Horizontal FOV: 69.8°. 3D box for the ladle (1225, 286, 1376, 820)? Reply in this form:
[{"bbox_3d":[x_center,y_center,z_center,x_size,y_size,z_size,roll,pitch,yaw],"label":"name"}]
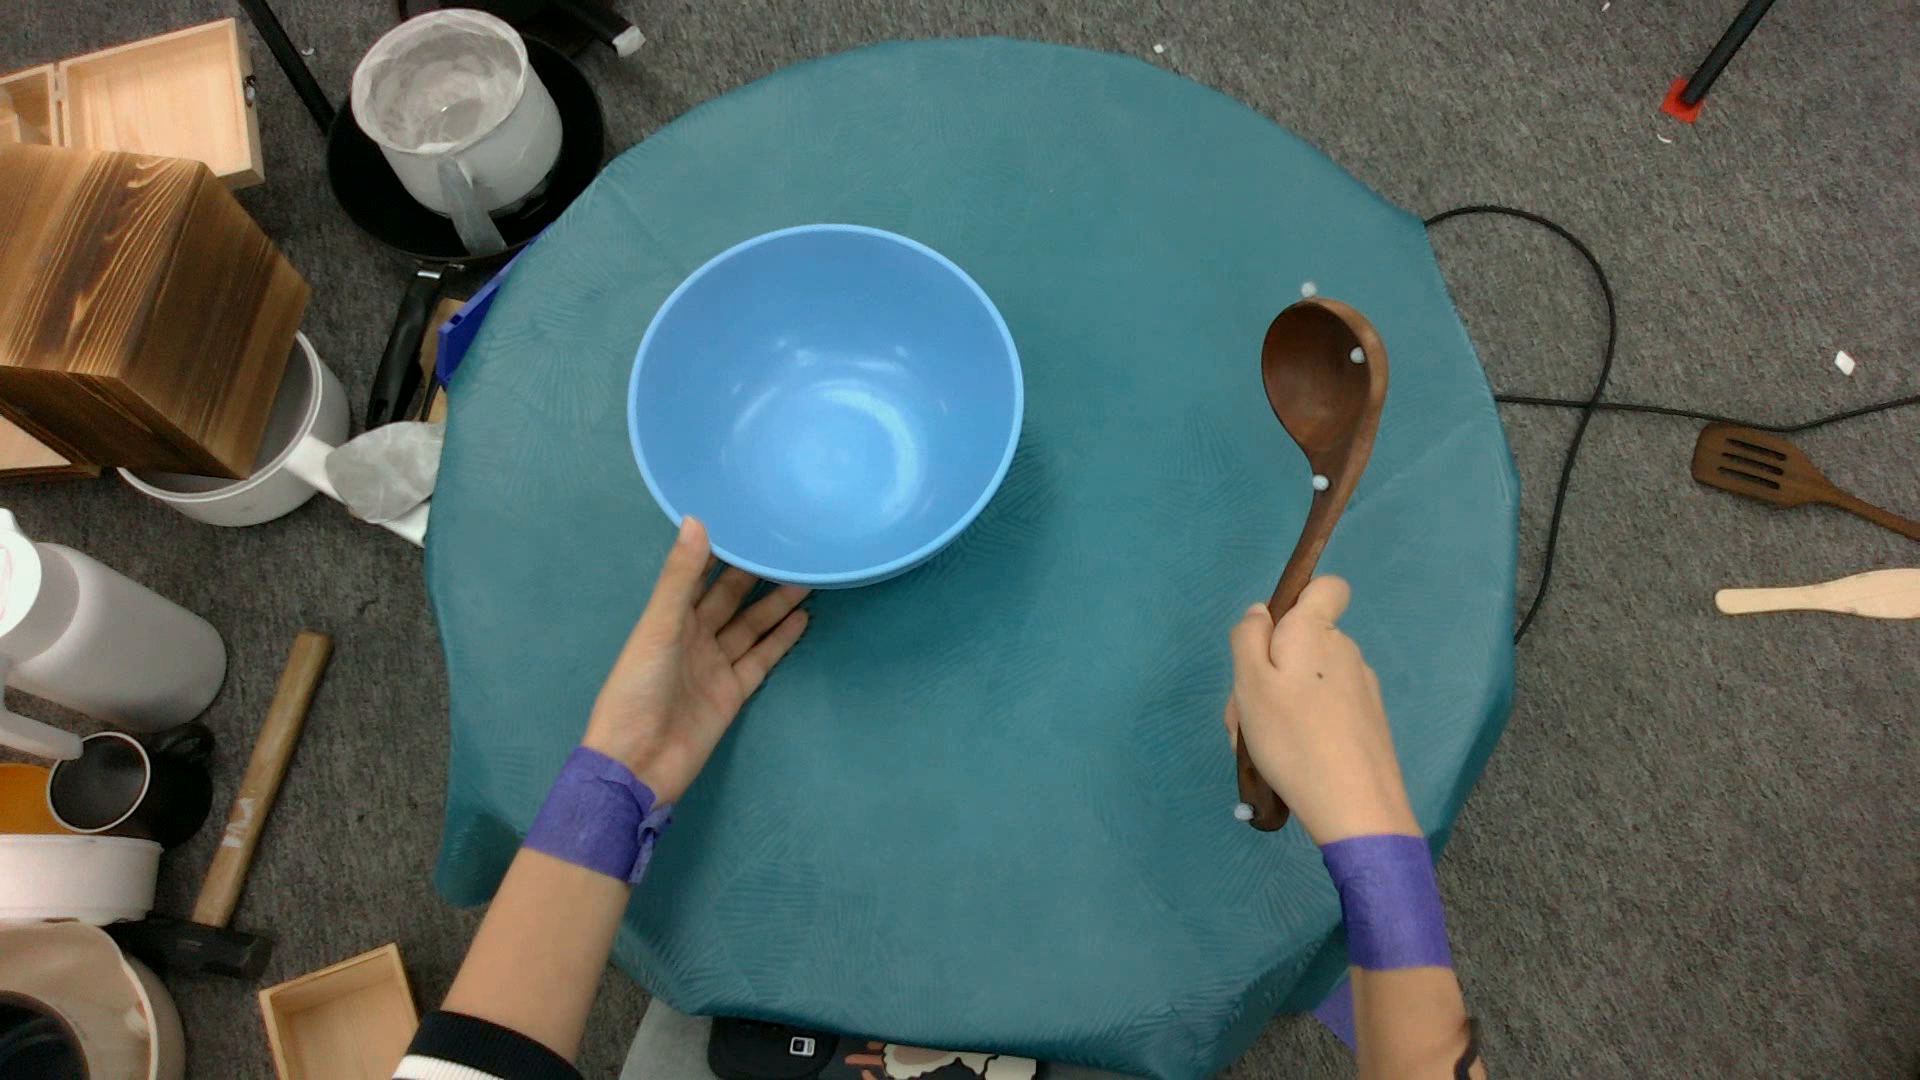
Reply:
[{"bbox_3d":[0.145,-0.002,0.647,0.065,0.076,0.261,25,68,-15],"label":"ladle"}]

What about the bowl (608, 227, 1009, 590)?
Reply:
[{"bbox_3d":[-0.078,-0.055,0.720,0.196,0.095,0.197,3,67,-6],"label":"bowl"}]
